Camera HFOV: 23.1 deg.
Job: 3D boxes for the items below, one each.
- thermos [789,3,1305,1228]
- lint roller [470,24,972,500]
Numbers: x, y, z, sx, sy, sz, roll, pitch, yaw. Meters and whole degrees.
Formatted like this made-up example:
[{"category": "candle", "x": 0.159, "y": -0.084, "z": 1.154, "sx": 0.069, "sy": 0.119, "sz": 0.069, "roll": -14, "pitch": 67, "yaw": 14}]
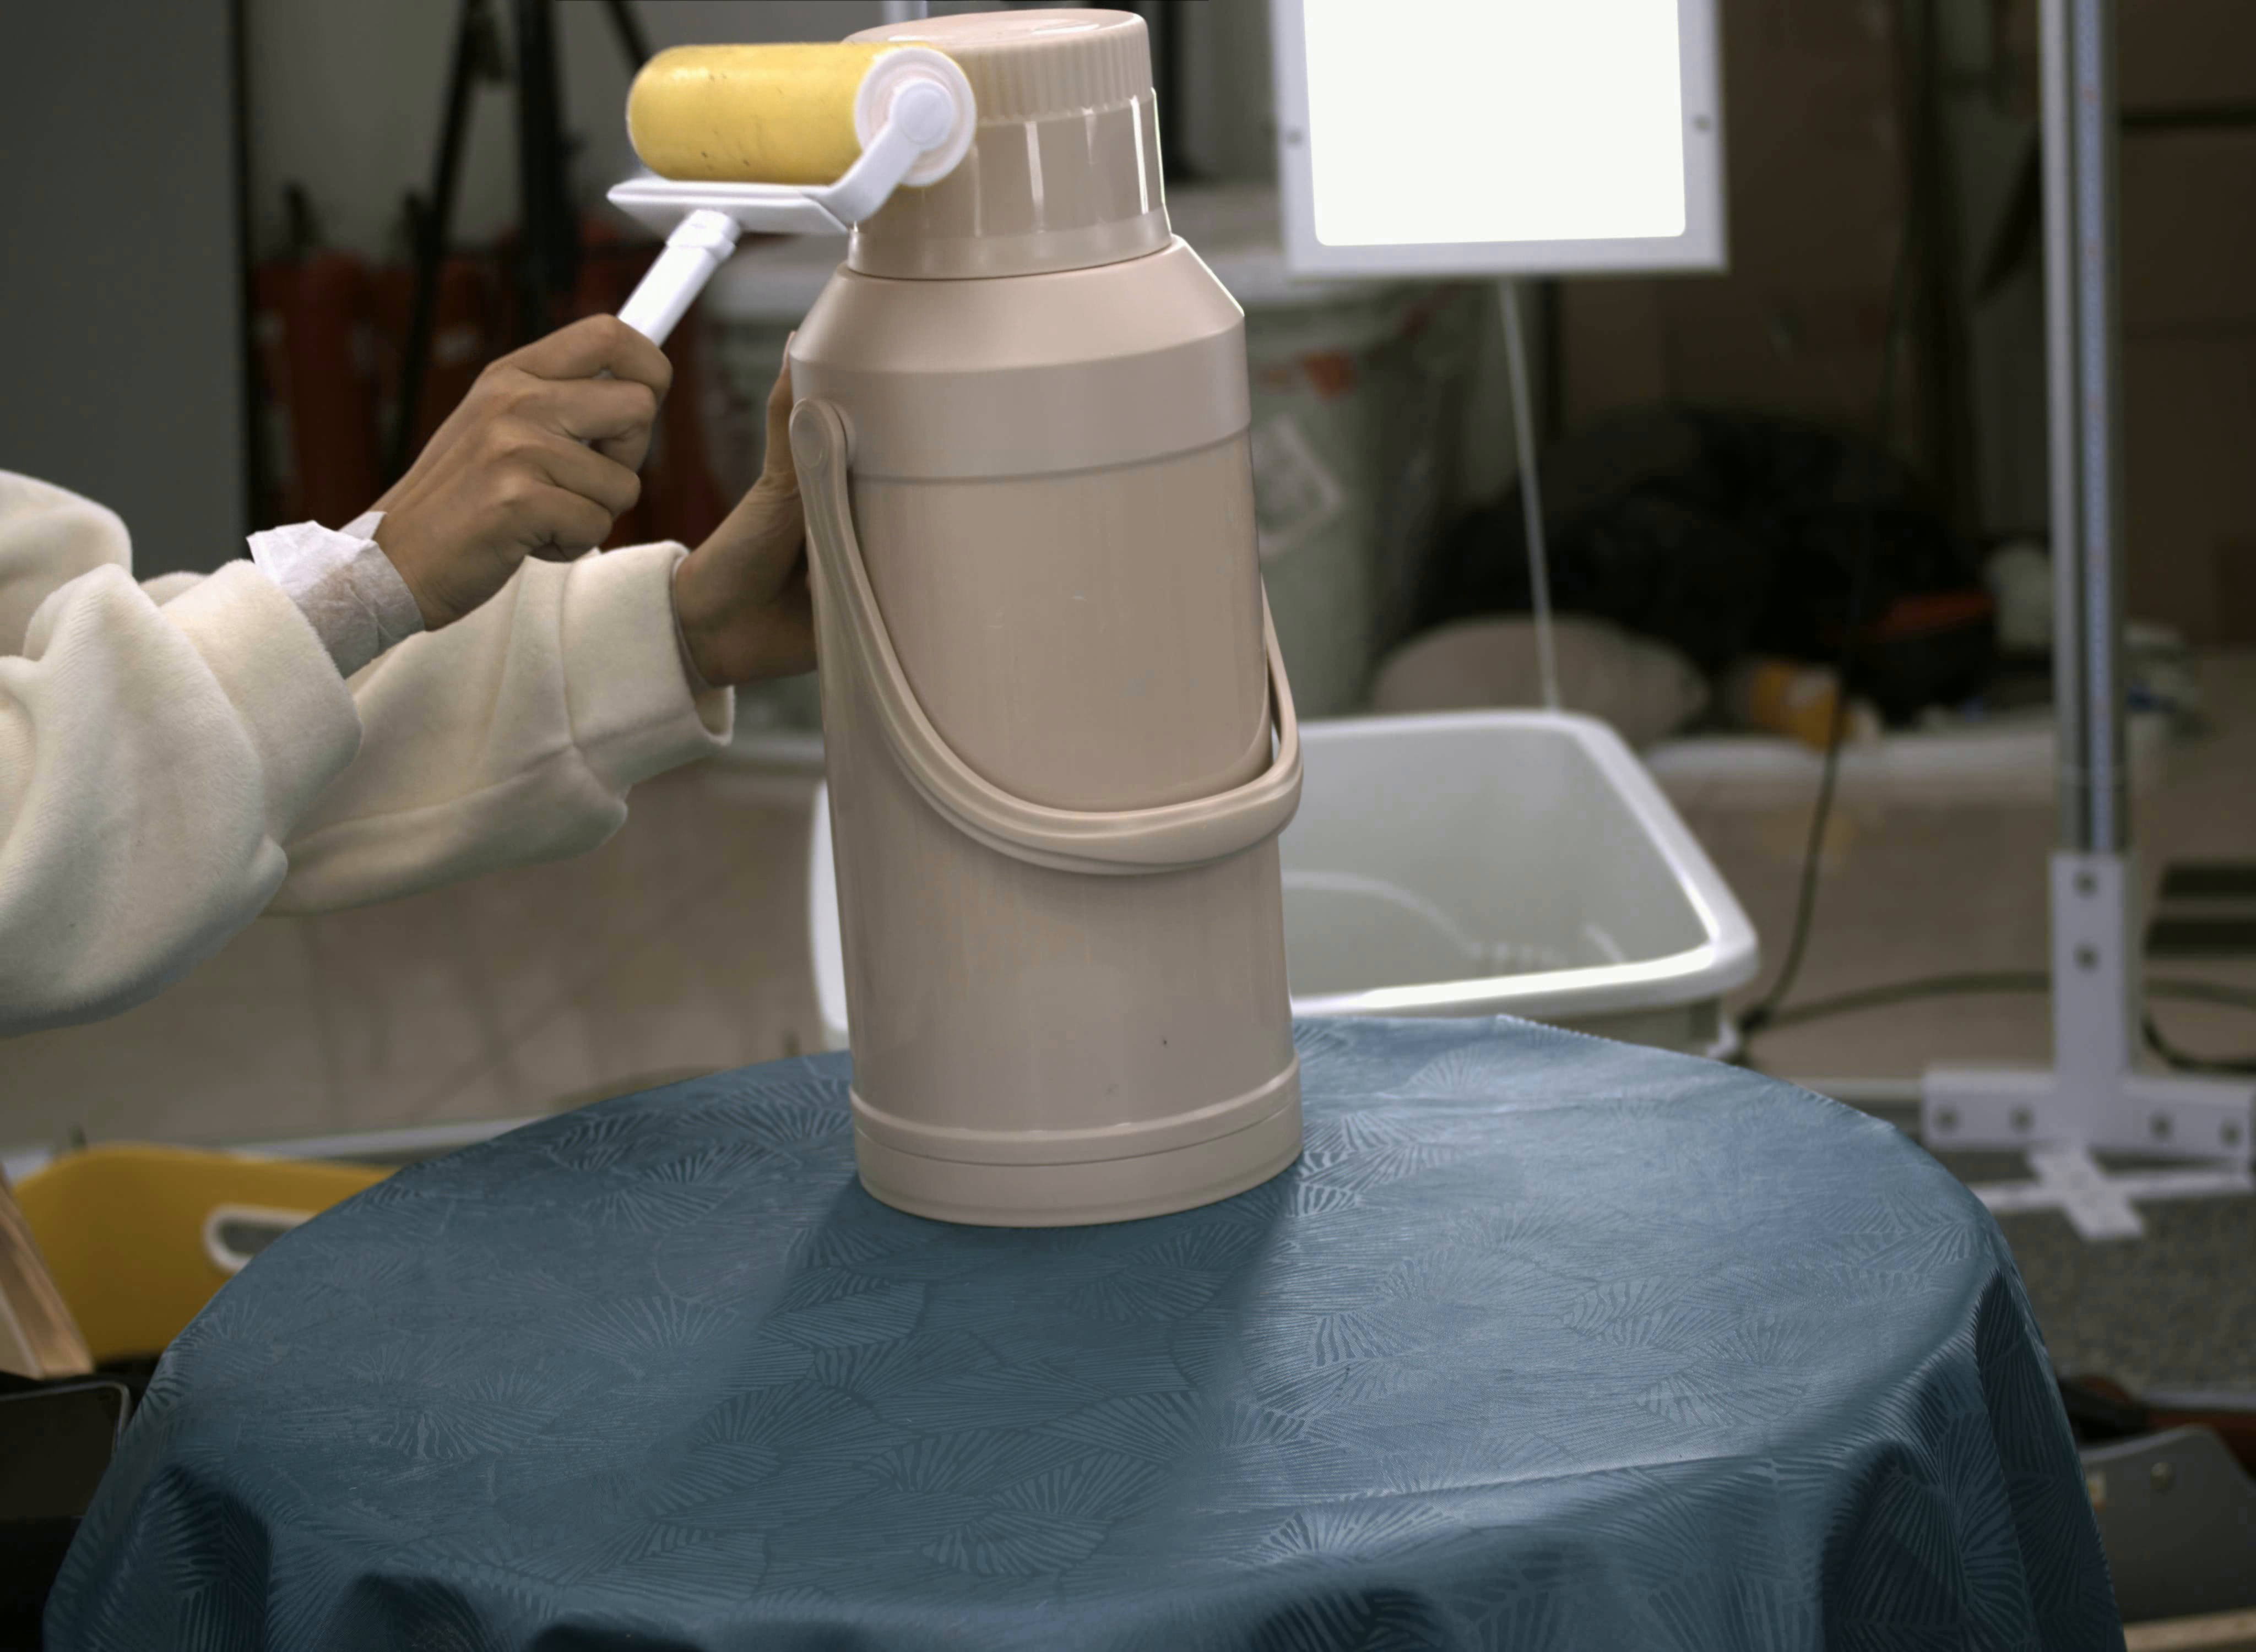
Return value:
[{"category": "thermos", "x": -0.038, "y": -0.076, "z": 1.906, "sx": 0.171, "sy": 0.408, "sz": 0.211, "roll": -14, "pitch": 17, "yaw": -33}, {"category": "lint roller", "x": -0.155, "y": -0.187, "z": 1.791, "sx": 0.190, "sy": 0.051, "sz": 0.177, "roll": -46, "pitch": 25, "yaw": -18}]
